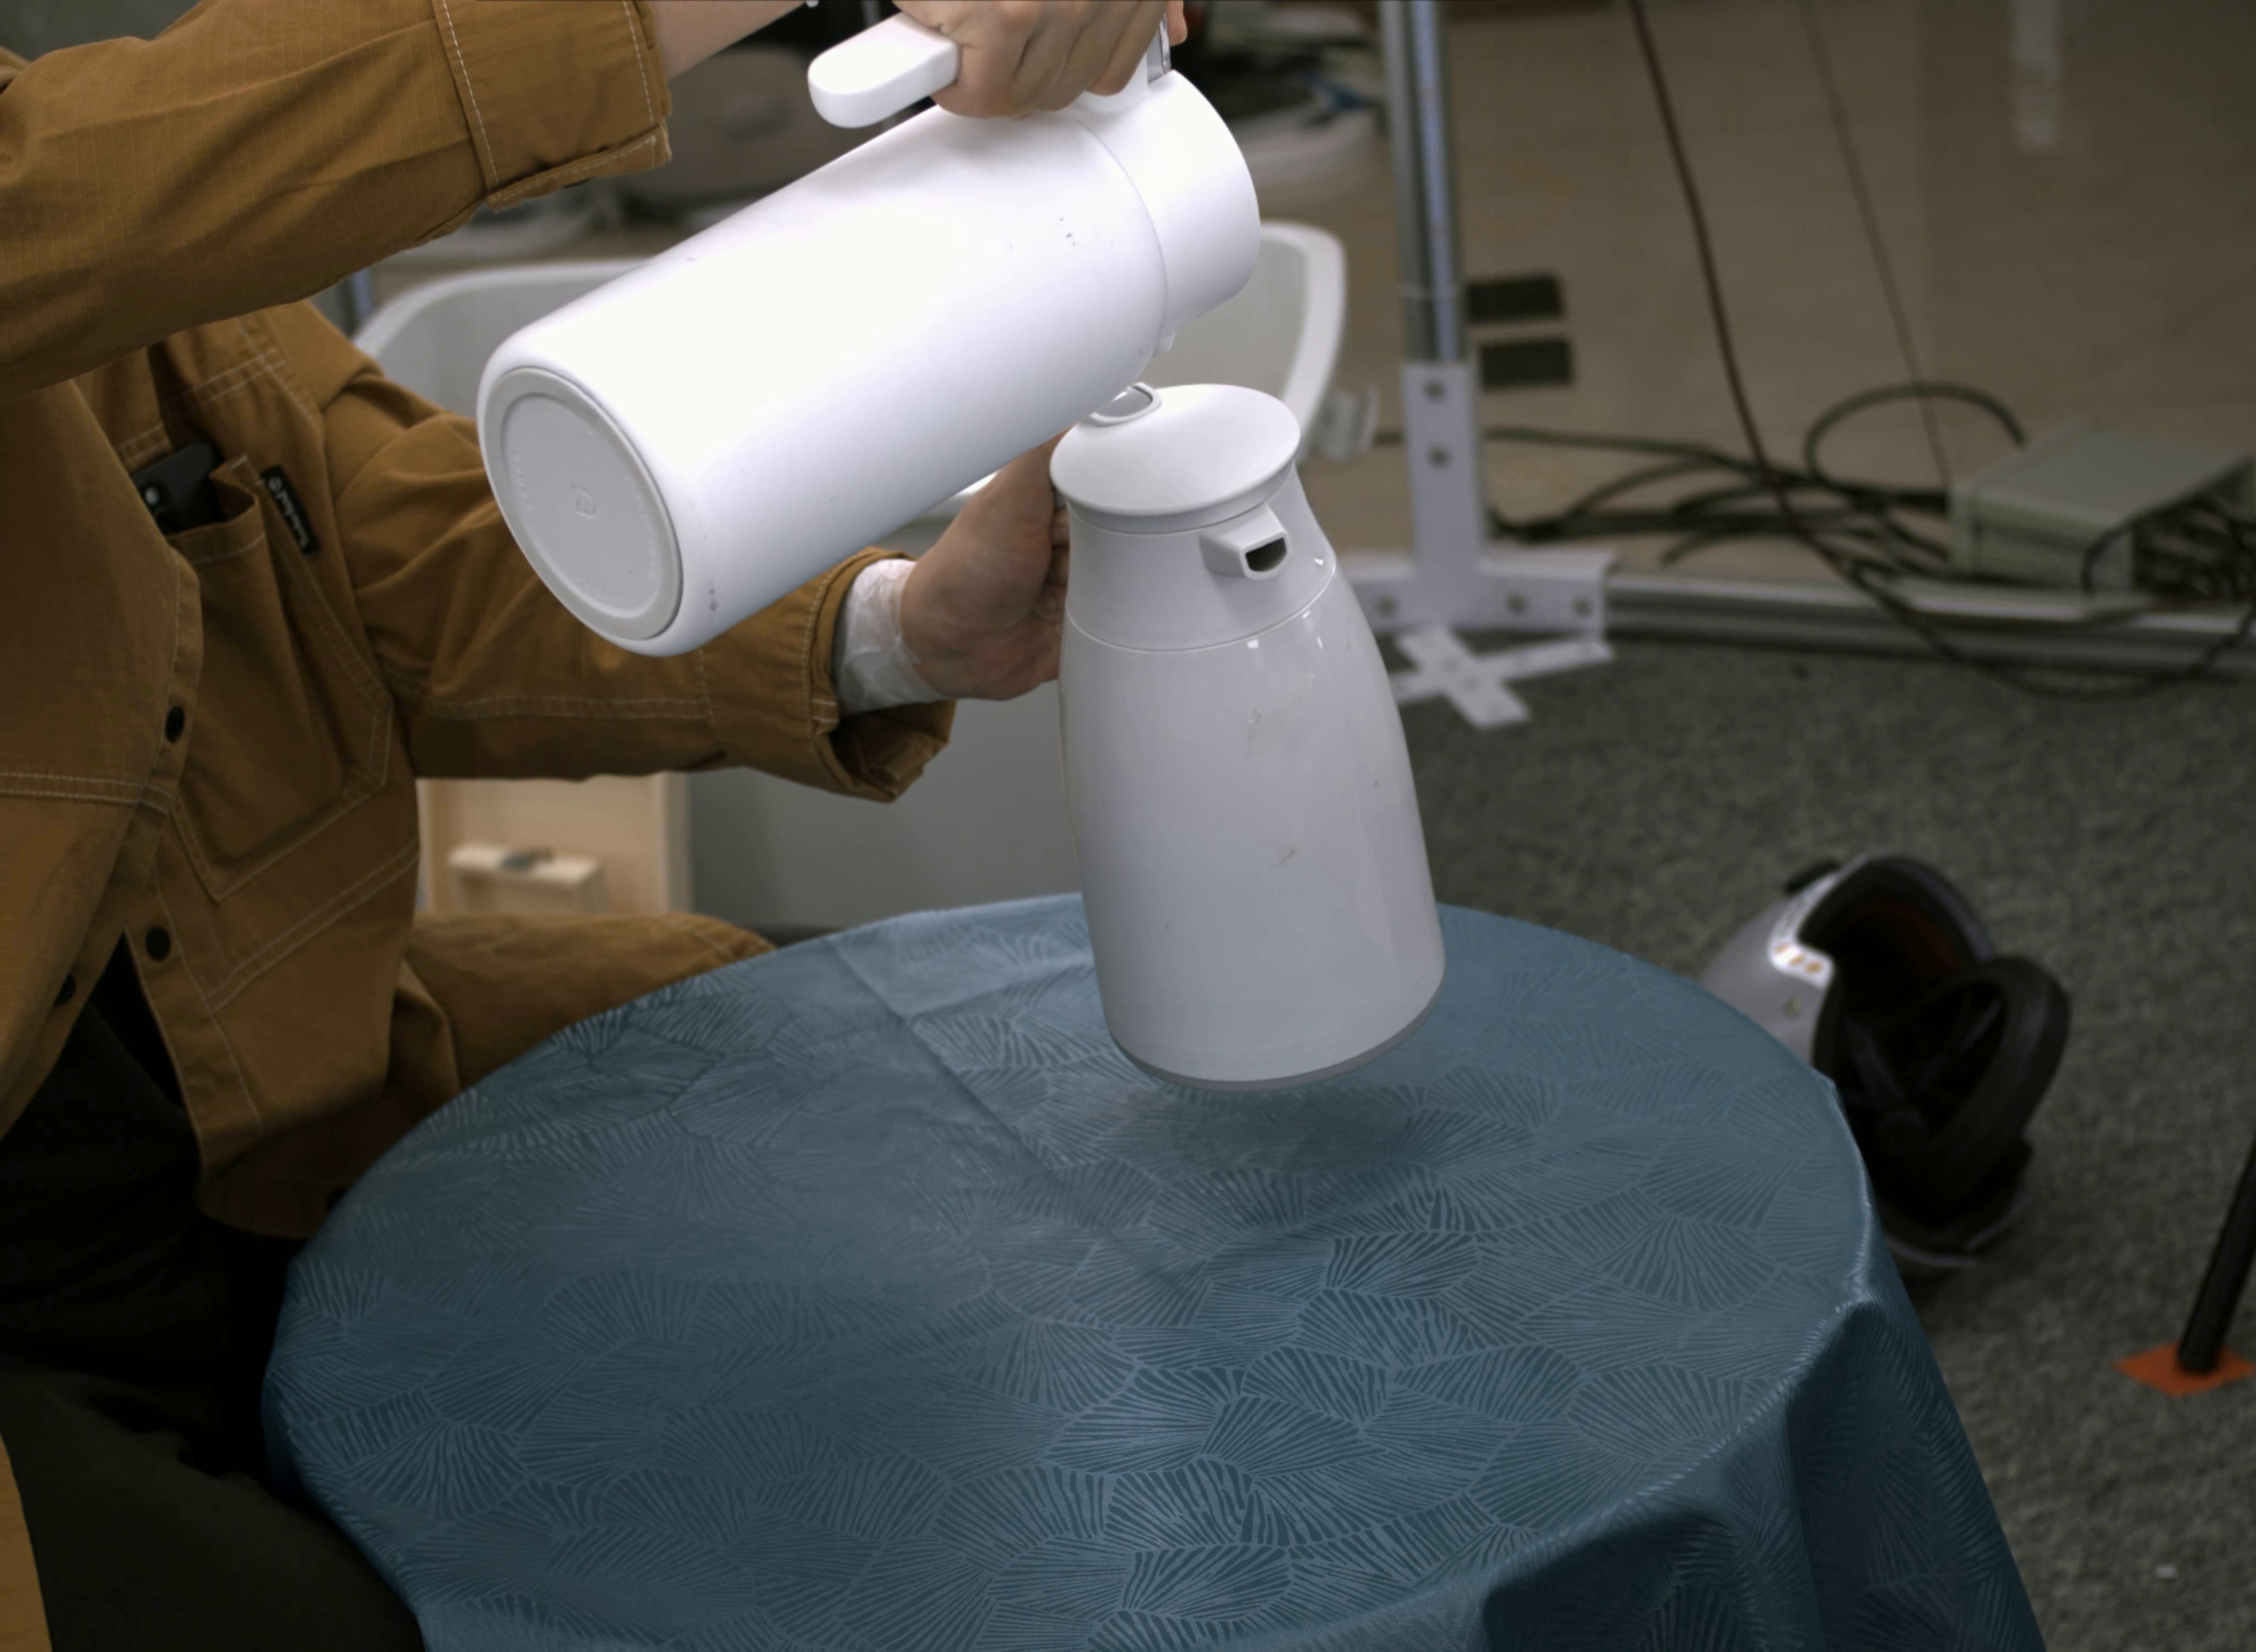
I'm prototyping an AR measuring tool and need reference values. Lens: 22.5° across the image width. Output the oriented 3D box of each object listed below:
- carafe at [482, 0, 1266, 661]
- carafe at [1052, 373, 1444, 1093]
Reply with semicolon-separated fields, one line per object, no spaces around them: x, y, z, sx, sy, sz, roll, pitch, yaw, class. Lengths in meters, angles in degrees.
-0.081;-0.177;1.878;0.266;0.176;0.122;-32;49;-30;carafe
0.026;-0.046;2.102;0.132;0.253;0.165;-25;35;-20;carafe
